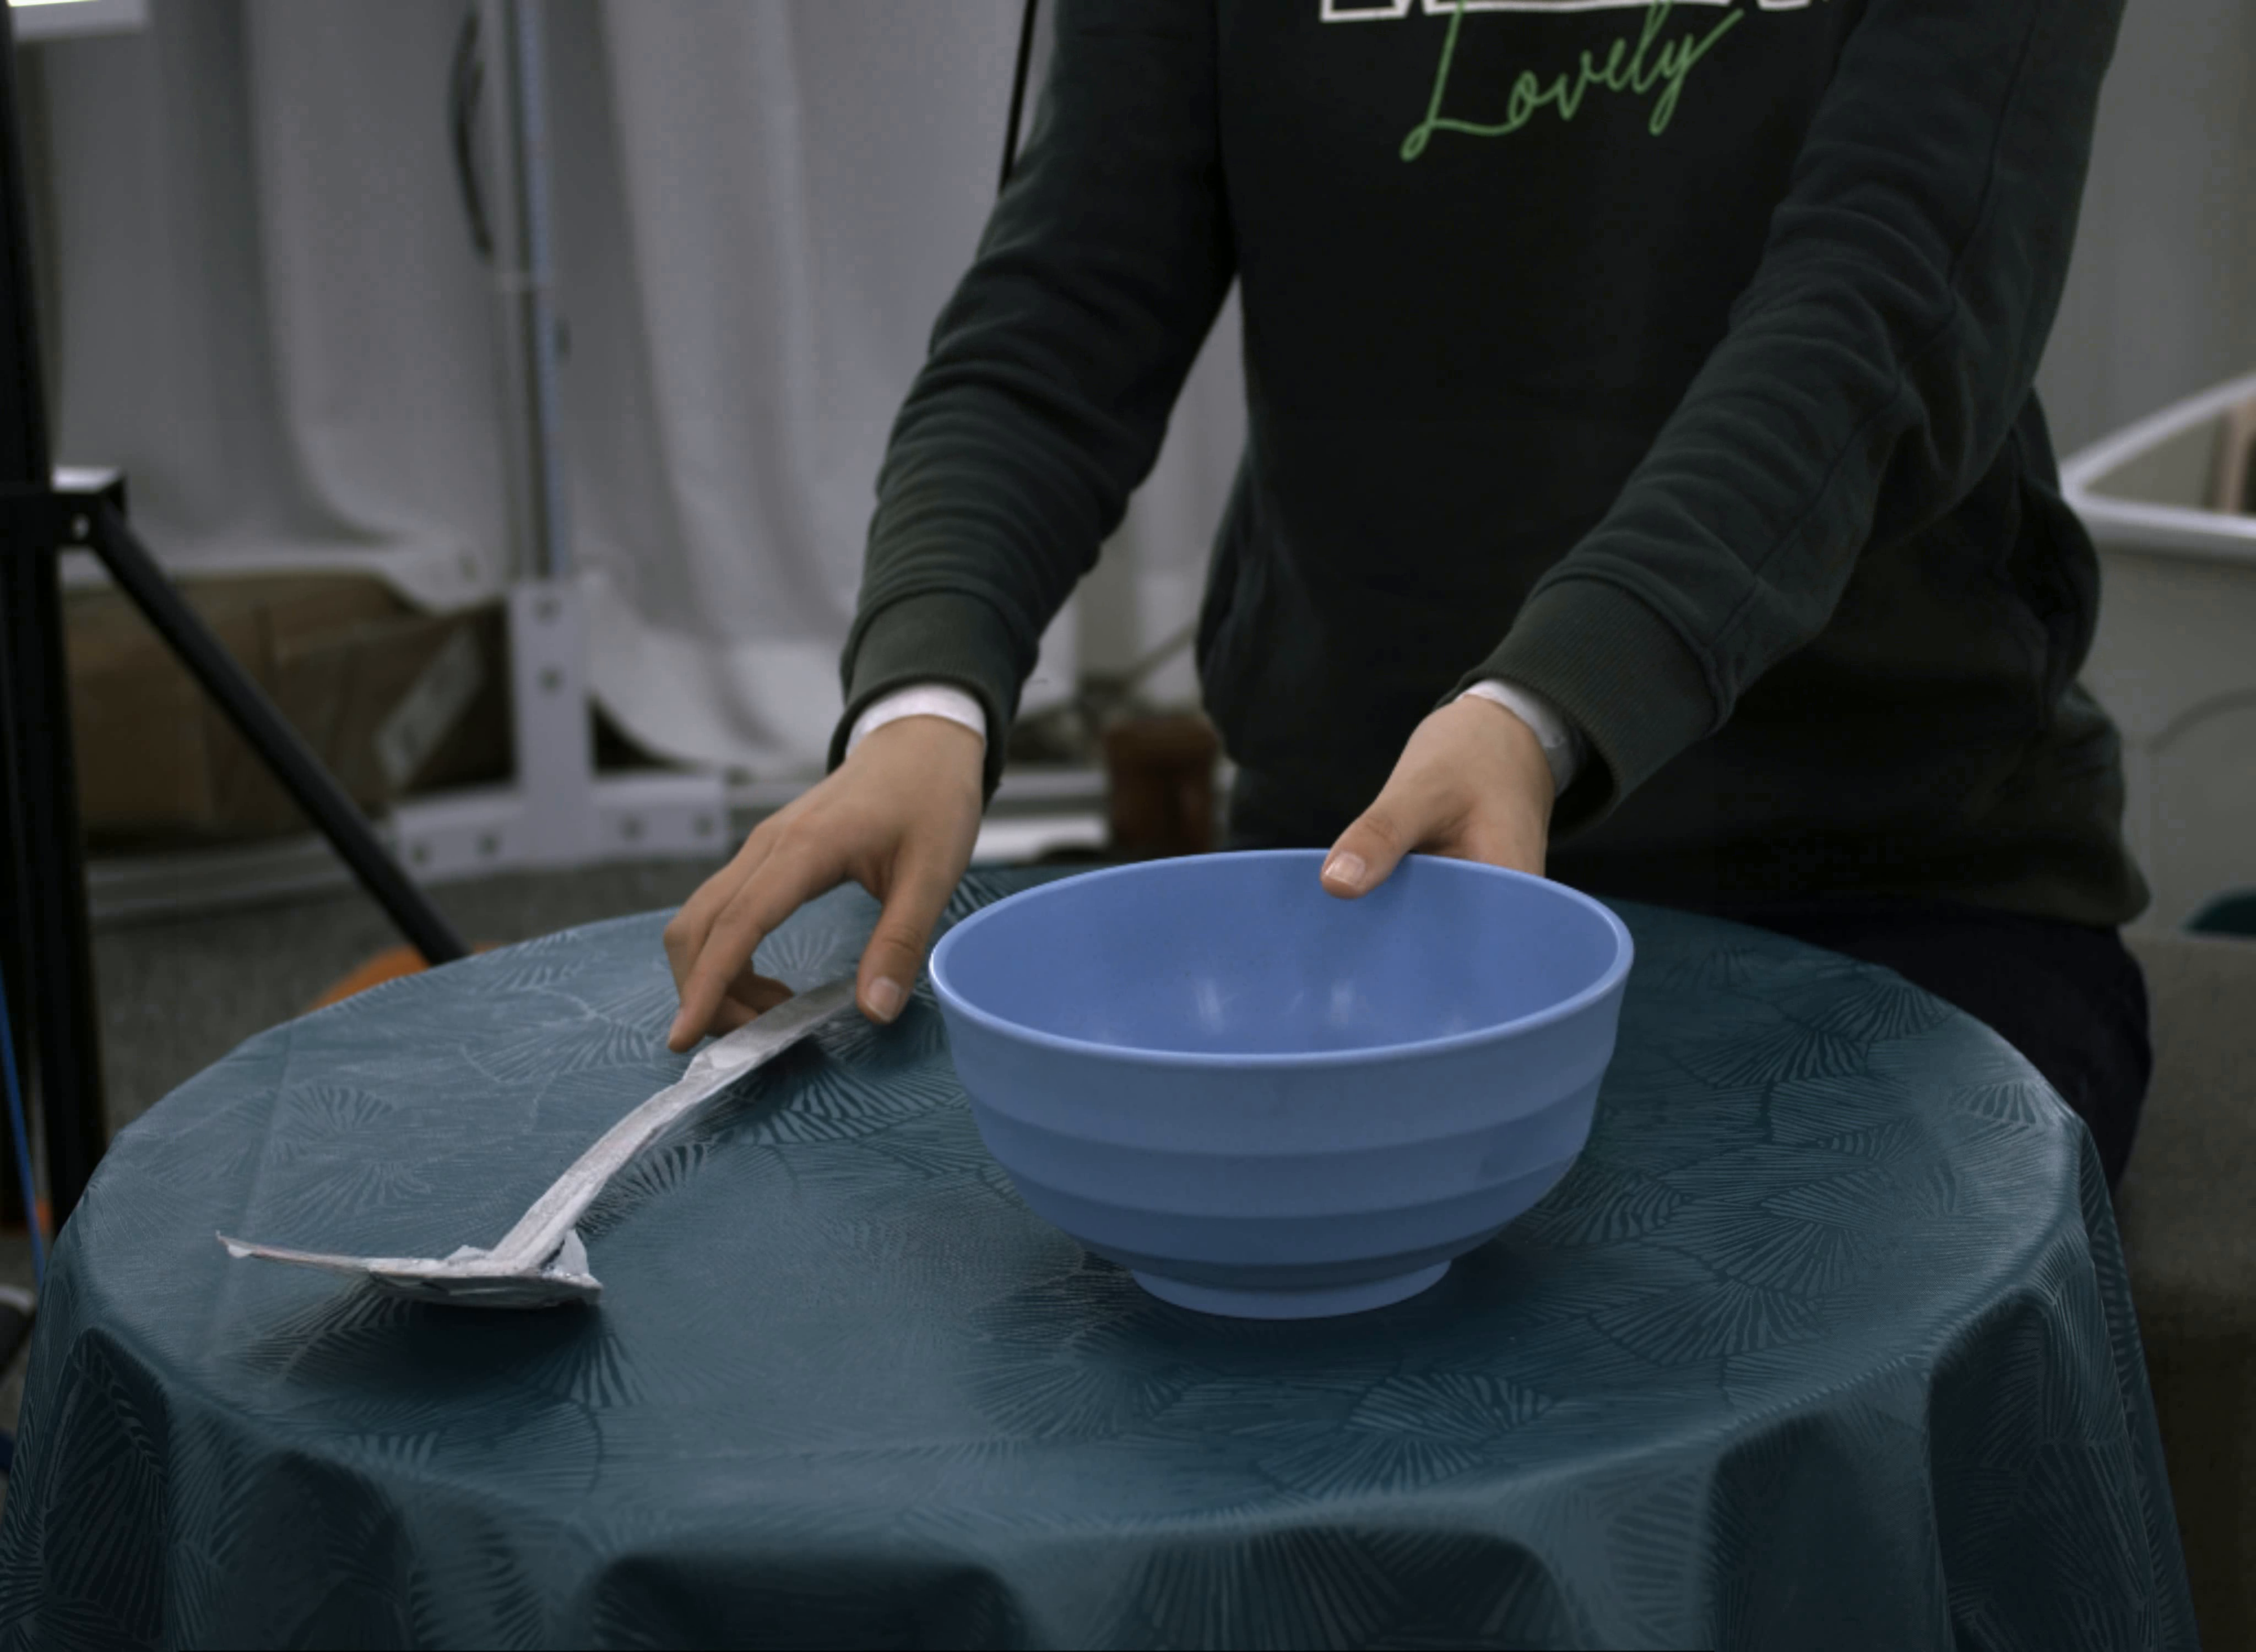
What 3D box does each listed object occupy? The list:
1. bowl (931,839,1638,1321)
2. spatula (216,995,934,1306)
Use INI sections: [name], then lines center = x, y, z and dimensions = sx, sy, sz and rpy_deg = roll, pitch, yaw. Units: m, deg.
[bowl]
center = 0.045, 0.077, 1.482
dimensions = 0.195, 0.095, 0.197
rpy_deg = -4, 17, 0
[spatula]
center = -0.142, 0.087, 1.585
dimensions = 0.100, 0.045, 0.360
rpy_deg = 2, 17, 23
